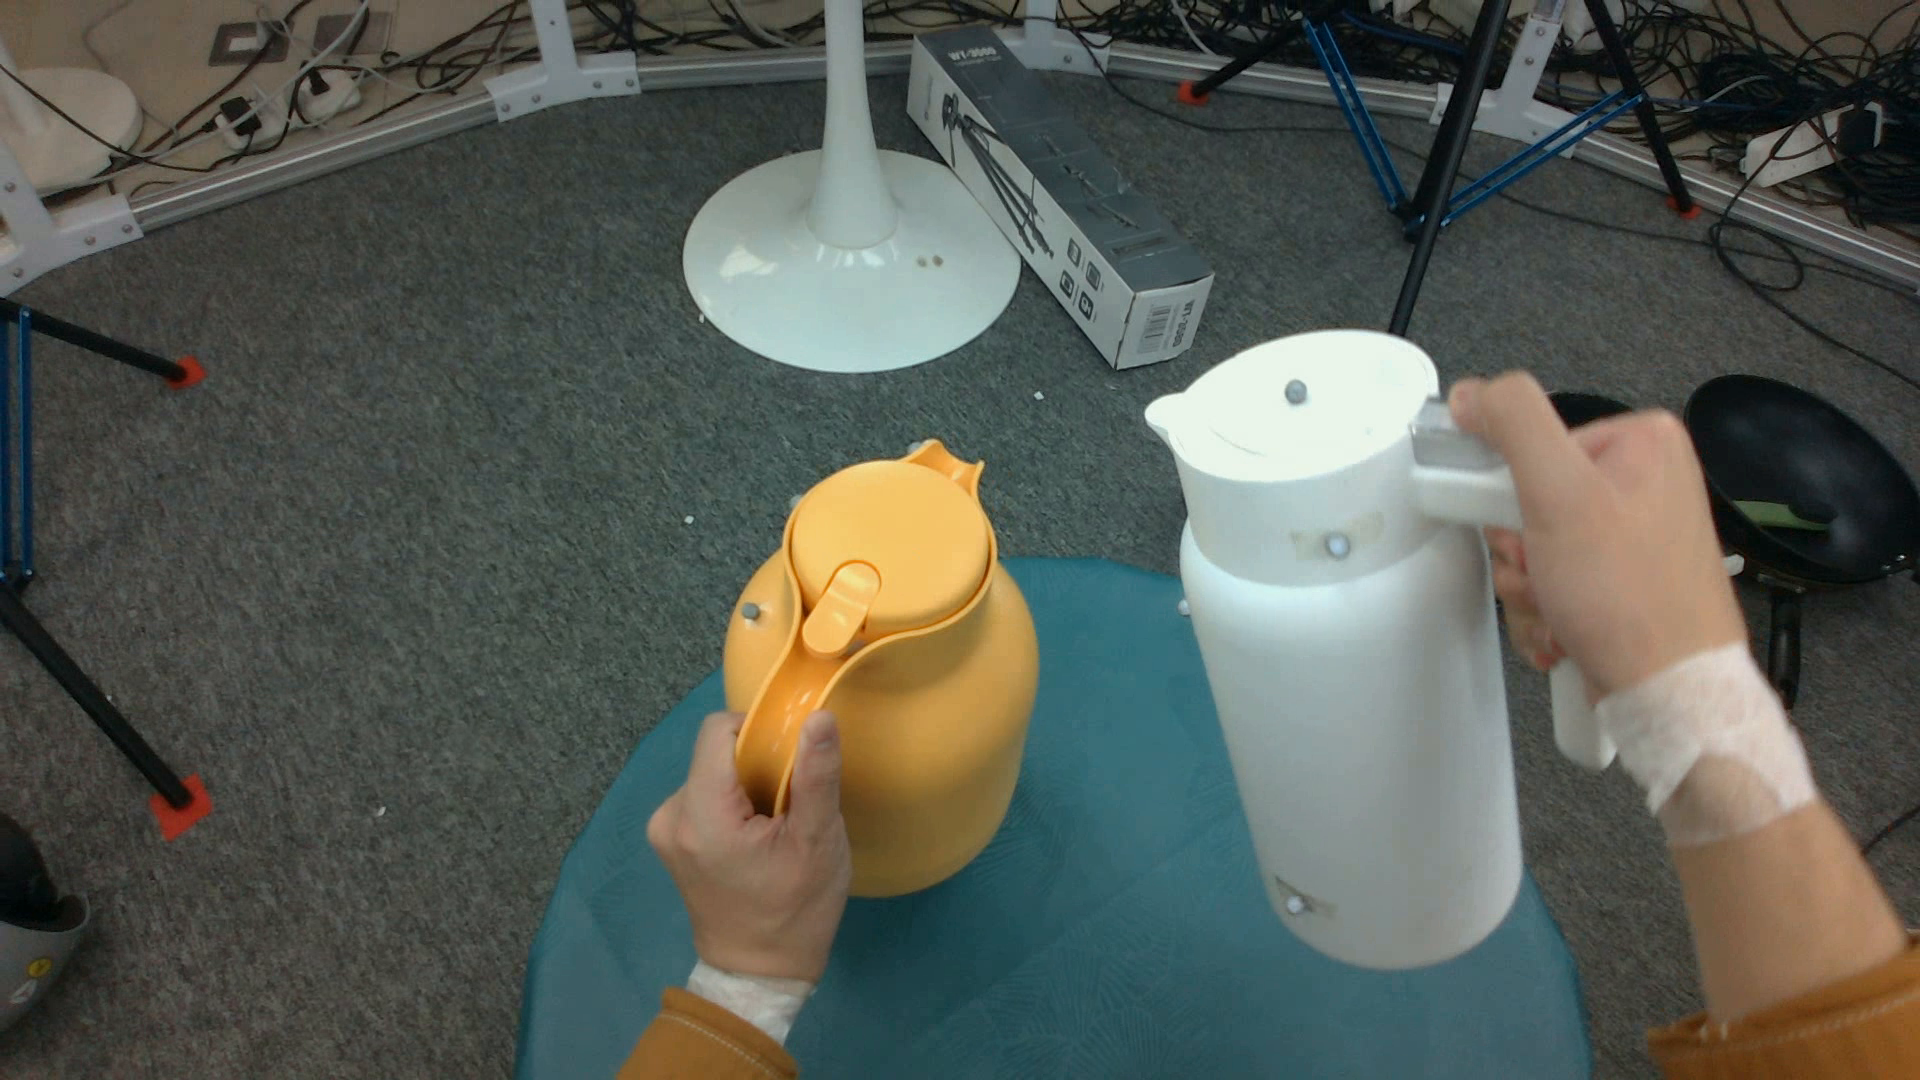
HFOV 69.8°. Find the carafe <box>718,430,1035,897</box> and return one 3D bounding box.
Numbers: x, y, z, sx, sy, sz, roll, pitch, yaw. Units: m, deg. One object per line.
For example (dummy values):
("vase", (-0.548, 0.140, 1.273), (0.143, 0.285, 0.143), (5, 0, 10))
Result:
("carafe", (-0.054, 0.079, 0.699), (0.163, 0.259, 0.203), (25, 54, 15))

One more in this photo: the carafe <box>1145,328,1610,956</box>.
("carafe", (0.177, 0.052, 0.575), (0.172, 0.268, 0.124), (12, 43, 38))
